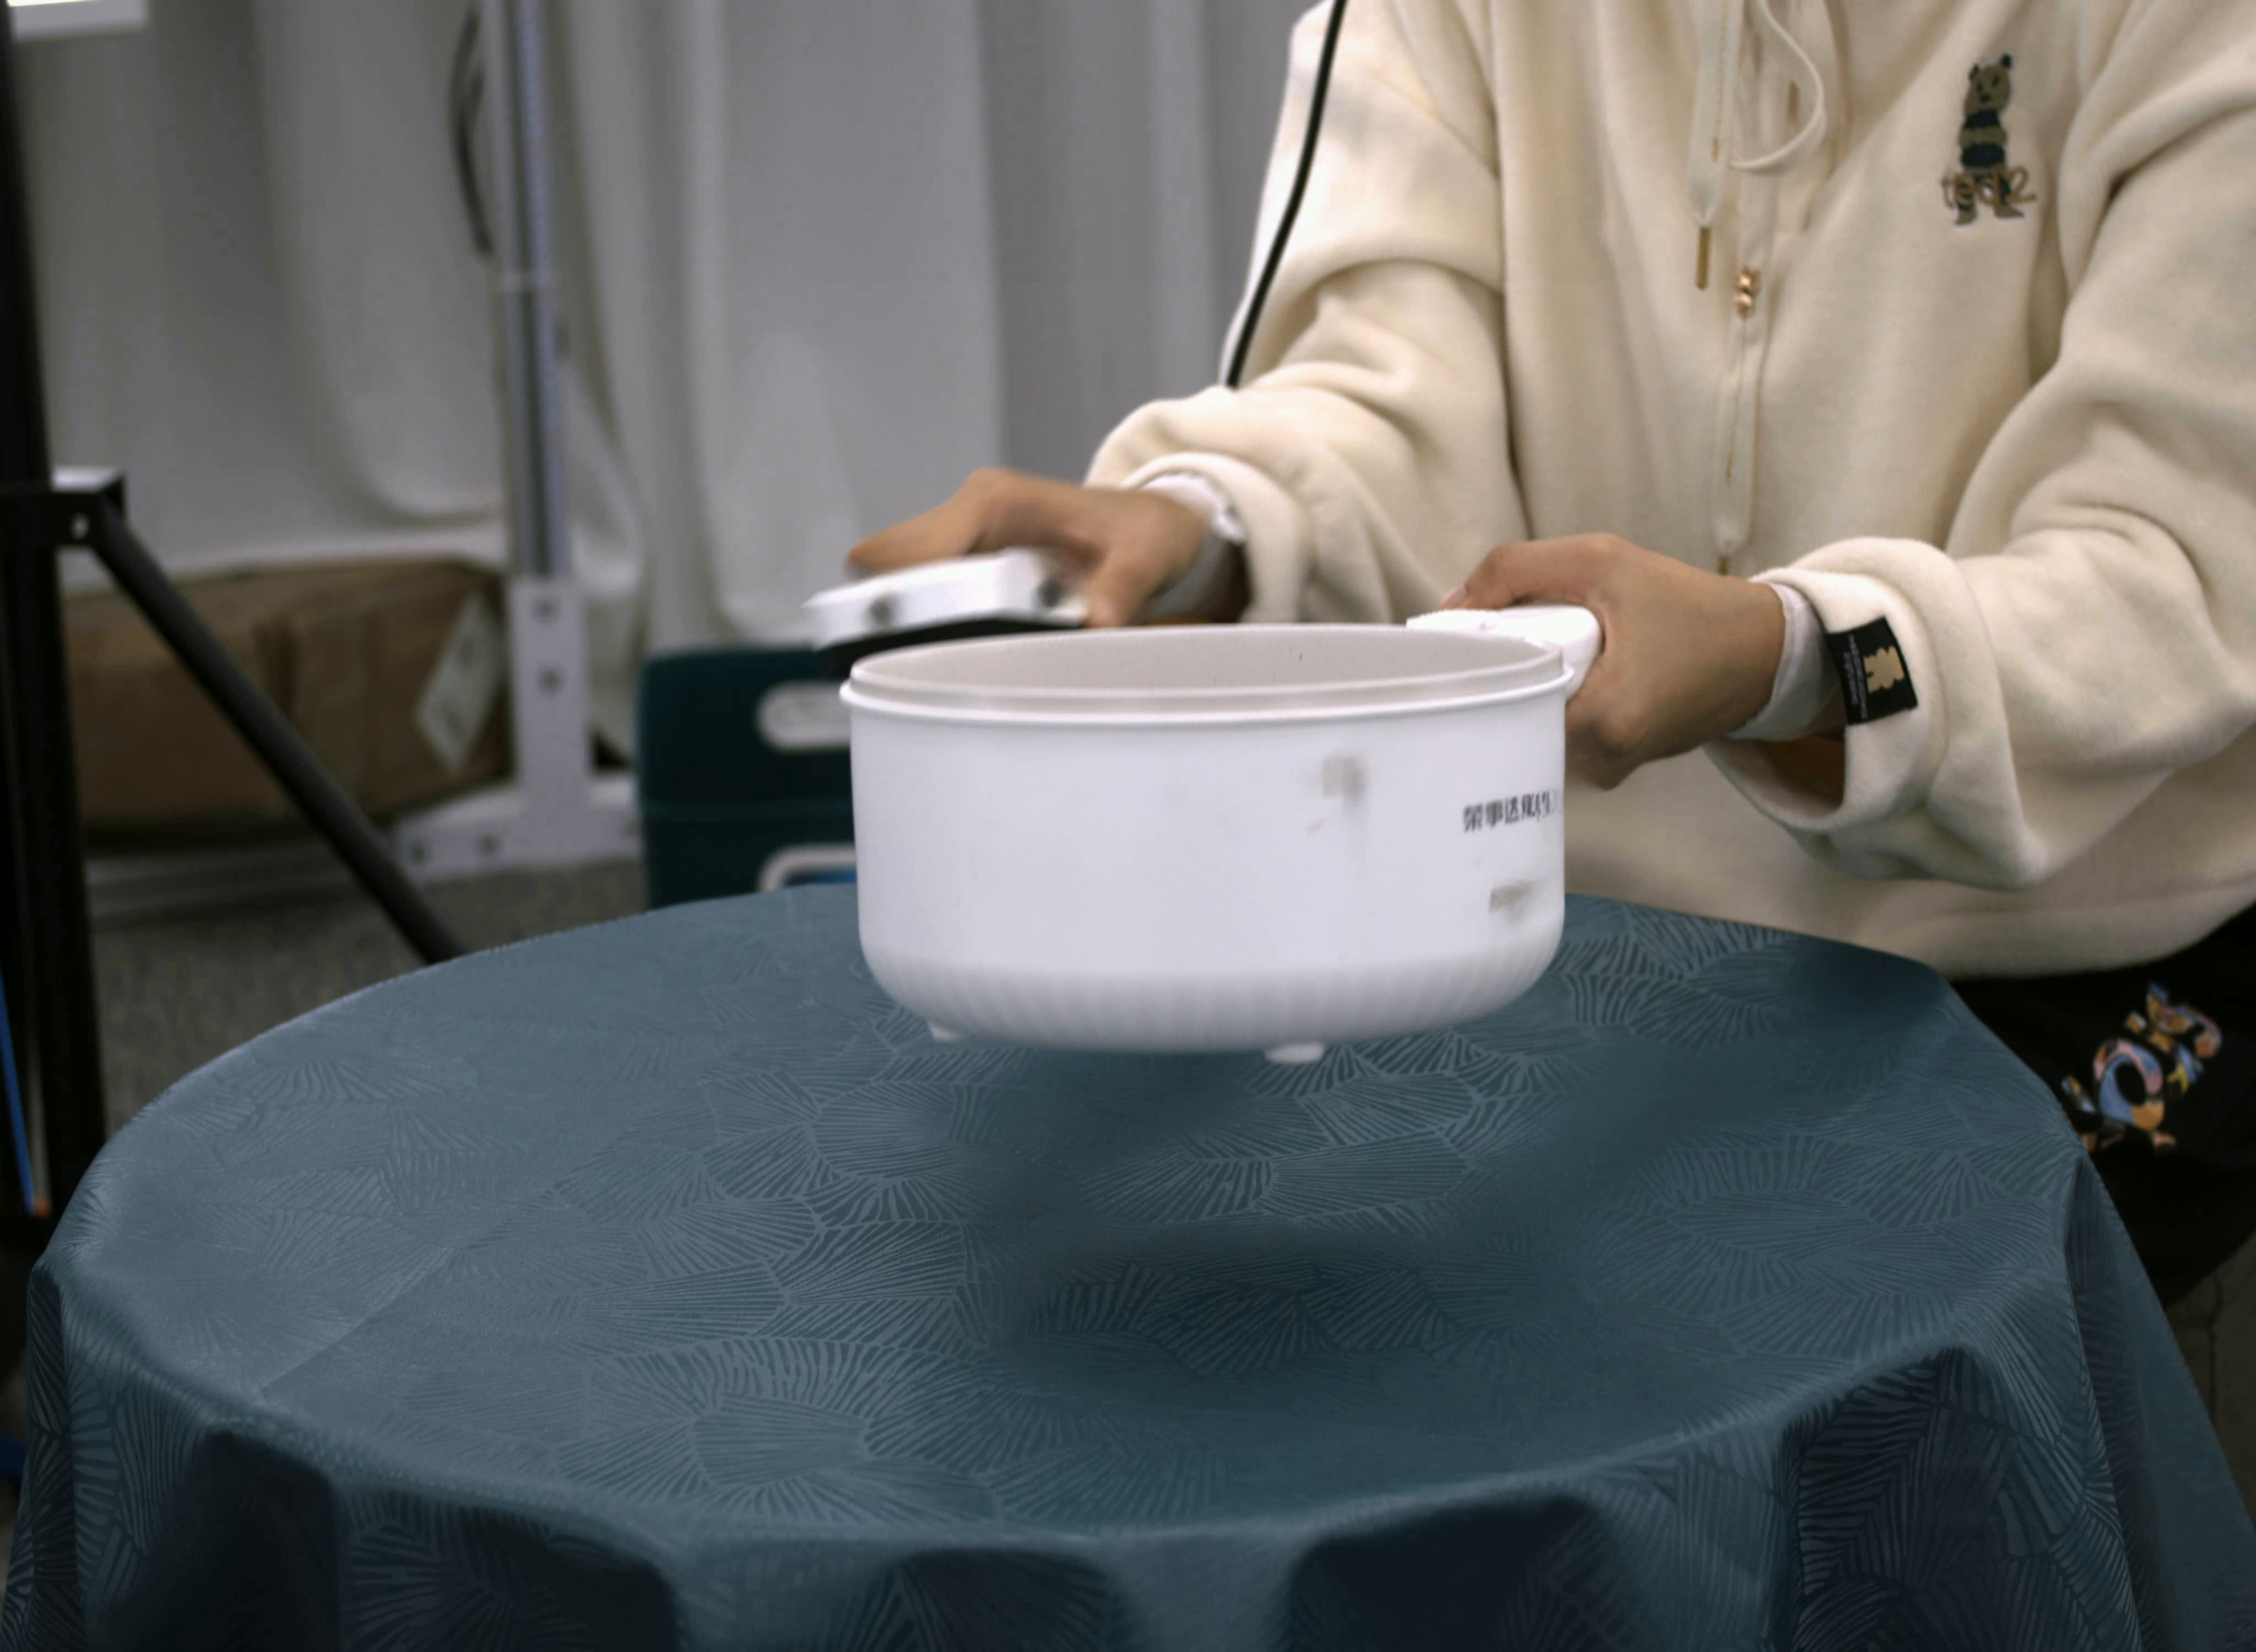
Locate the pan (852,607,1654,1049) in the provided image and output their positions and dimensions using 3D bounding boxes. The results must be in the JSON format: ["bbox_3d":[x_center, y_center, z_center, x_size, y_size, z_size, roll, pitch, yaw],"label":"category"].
[{"bbox_3d":[0.060,-0.006,1.517,0.205,0.102,0.347,4,6,29],"label":"pan"}]

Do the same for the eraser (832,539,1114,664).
[{"bbox_3d":[-0.044,-0.067,1.633,0.064,0.035,0.129,-7,-2,16],"label":"eraser"}]
